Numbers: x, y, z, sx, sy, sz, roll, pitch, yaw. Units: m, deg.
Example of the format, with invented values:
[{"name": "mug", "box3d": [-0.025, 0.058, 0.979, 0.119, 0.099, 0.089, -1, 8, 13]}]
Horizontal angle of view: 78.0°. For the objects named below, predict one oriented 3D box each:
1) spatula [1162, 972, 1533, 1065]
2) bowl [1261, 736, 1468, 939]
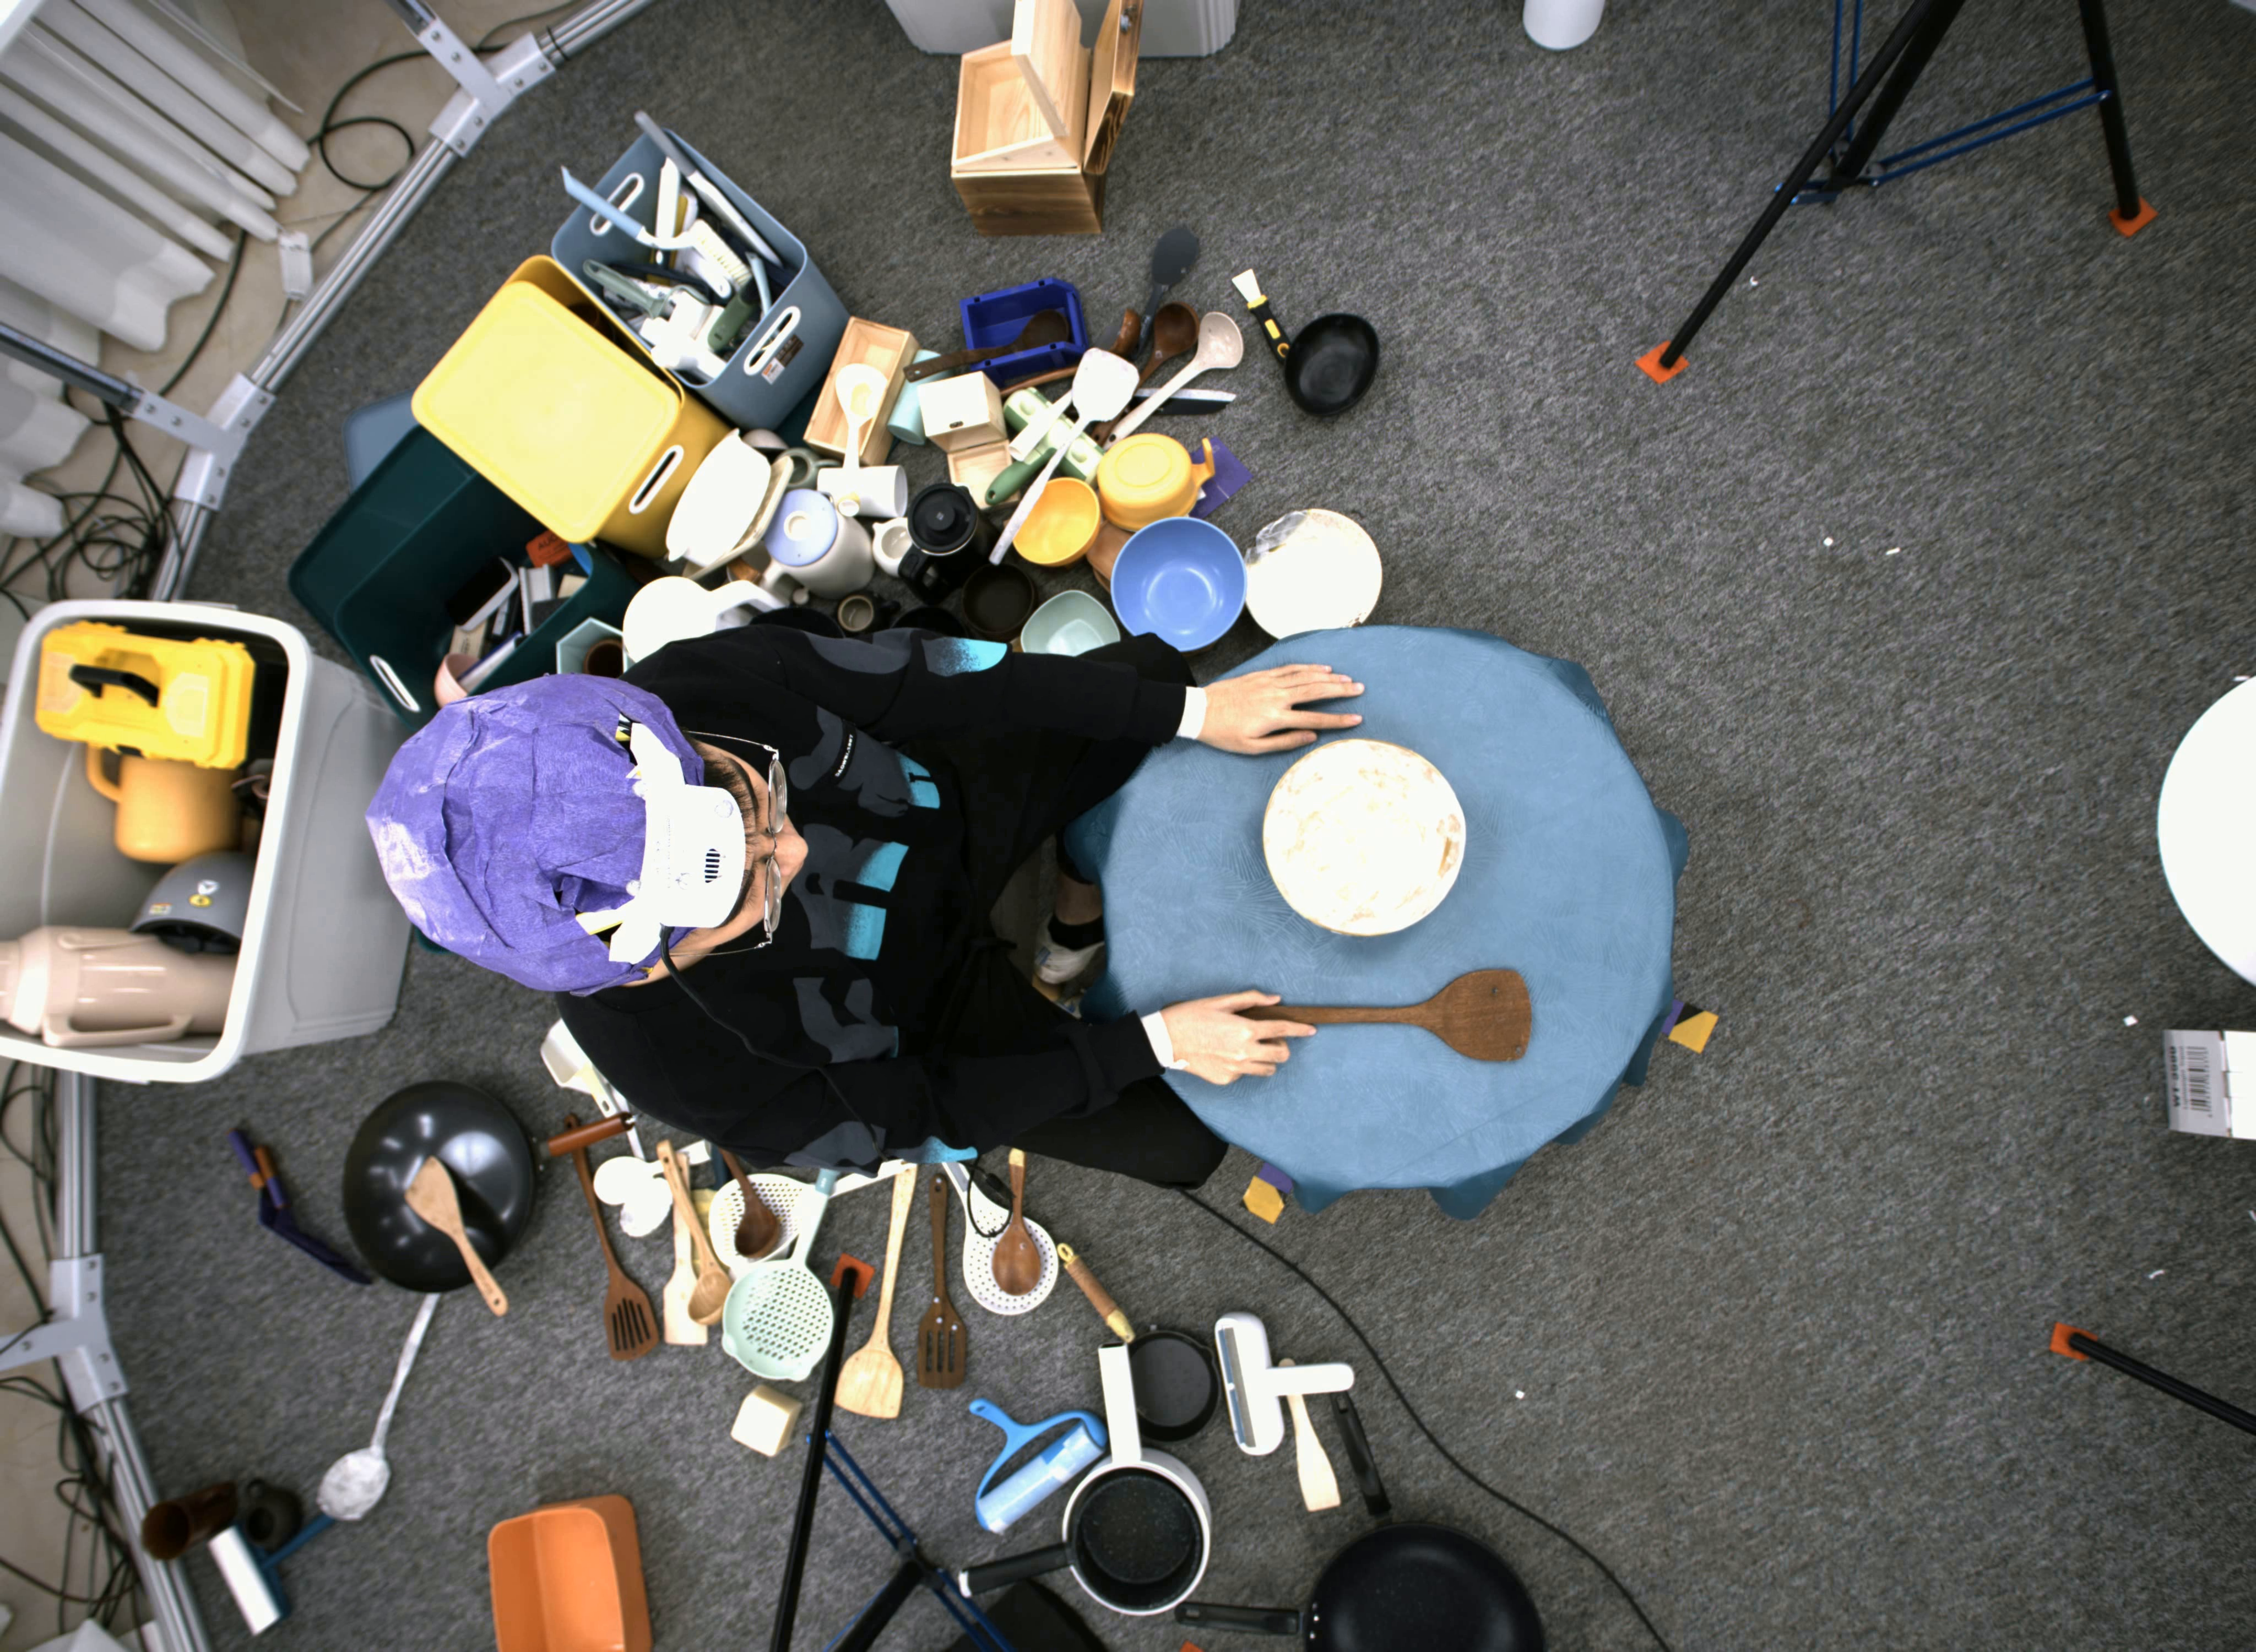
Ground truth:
[{"name": "spatula", "box3d": [0.227, 0.200, 1.452, 0.387, 0.016, 0.095, -1, 86, 8]}, {"name": "bowl", "box3d": [0.244, 0.013, 1.427, 0.215, 0.094, 0.214, -1, 87, 12]}]
